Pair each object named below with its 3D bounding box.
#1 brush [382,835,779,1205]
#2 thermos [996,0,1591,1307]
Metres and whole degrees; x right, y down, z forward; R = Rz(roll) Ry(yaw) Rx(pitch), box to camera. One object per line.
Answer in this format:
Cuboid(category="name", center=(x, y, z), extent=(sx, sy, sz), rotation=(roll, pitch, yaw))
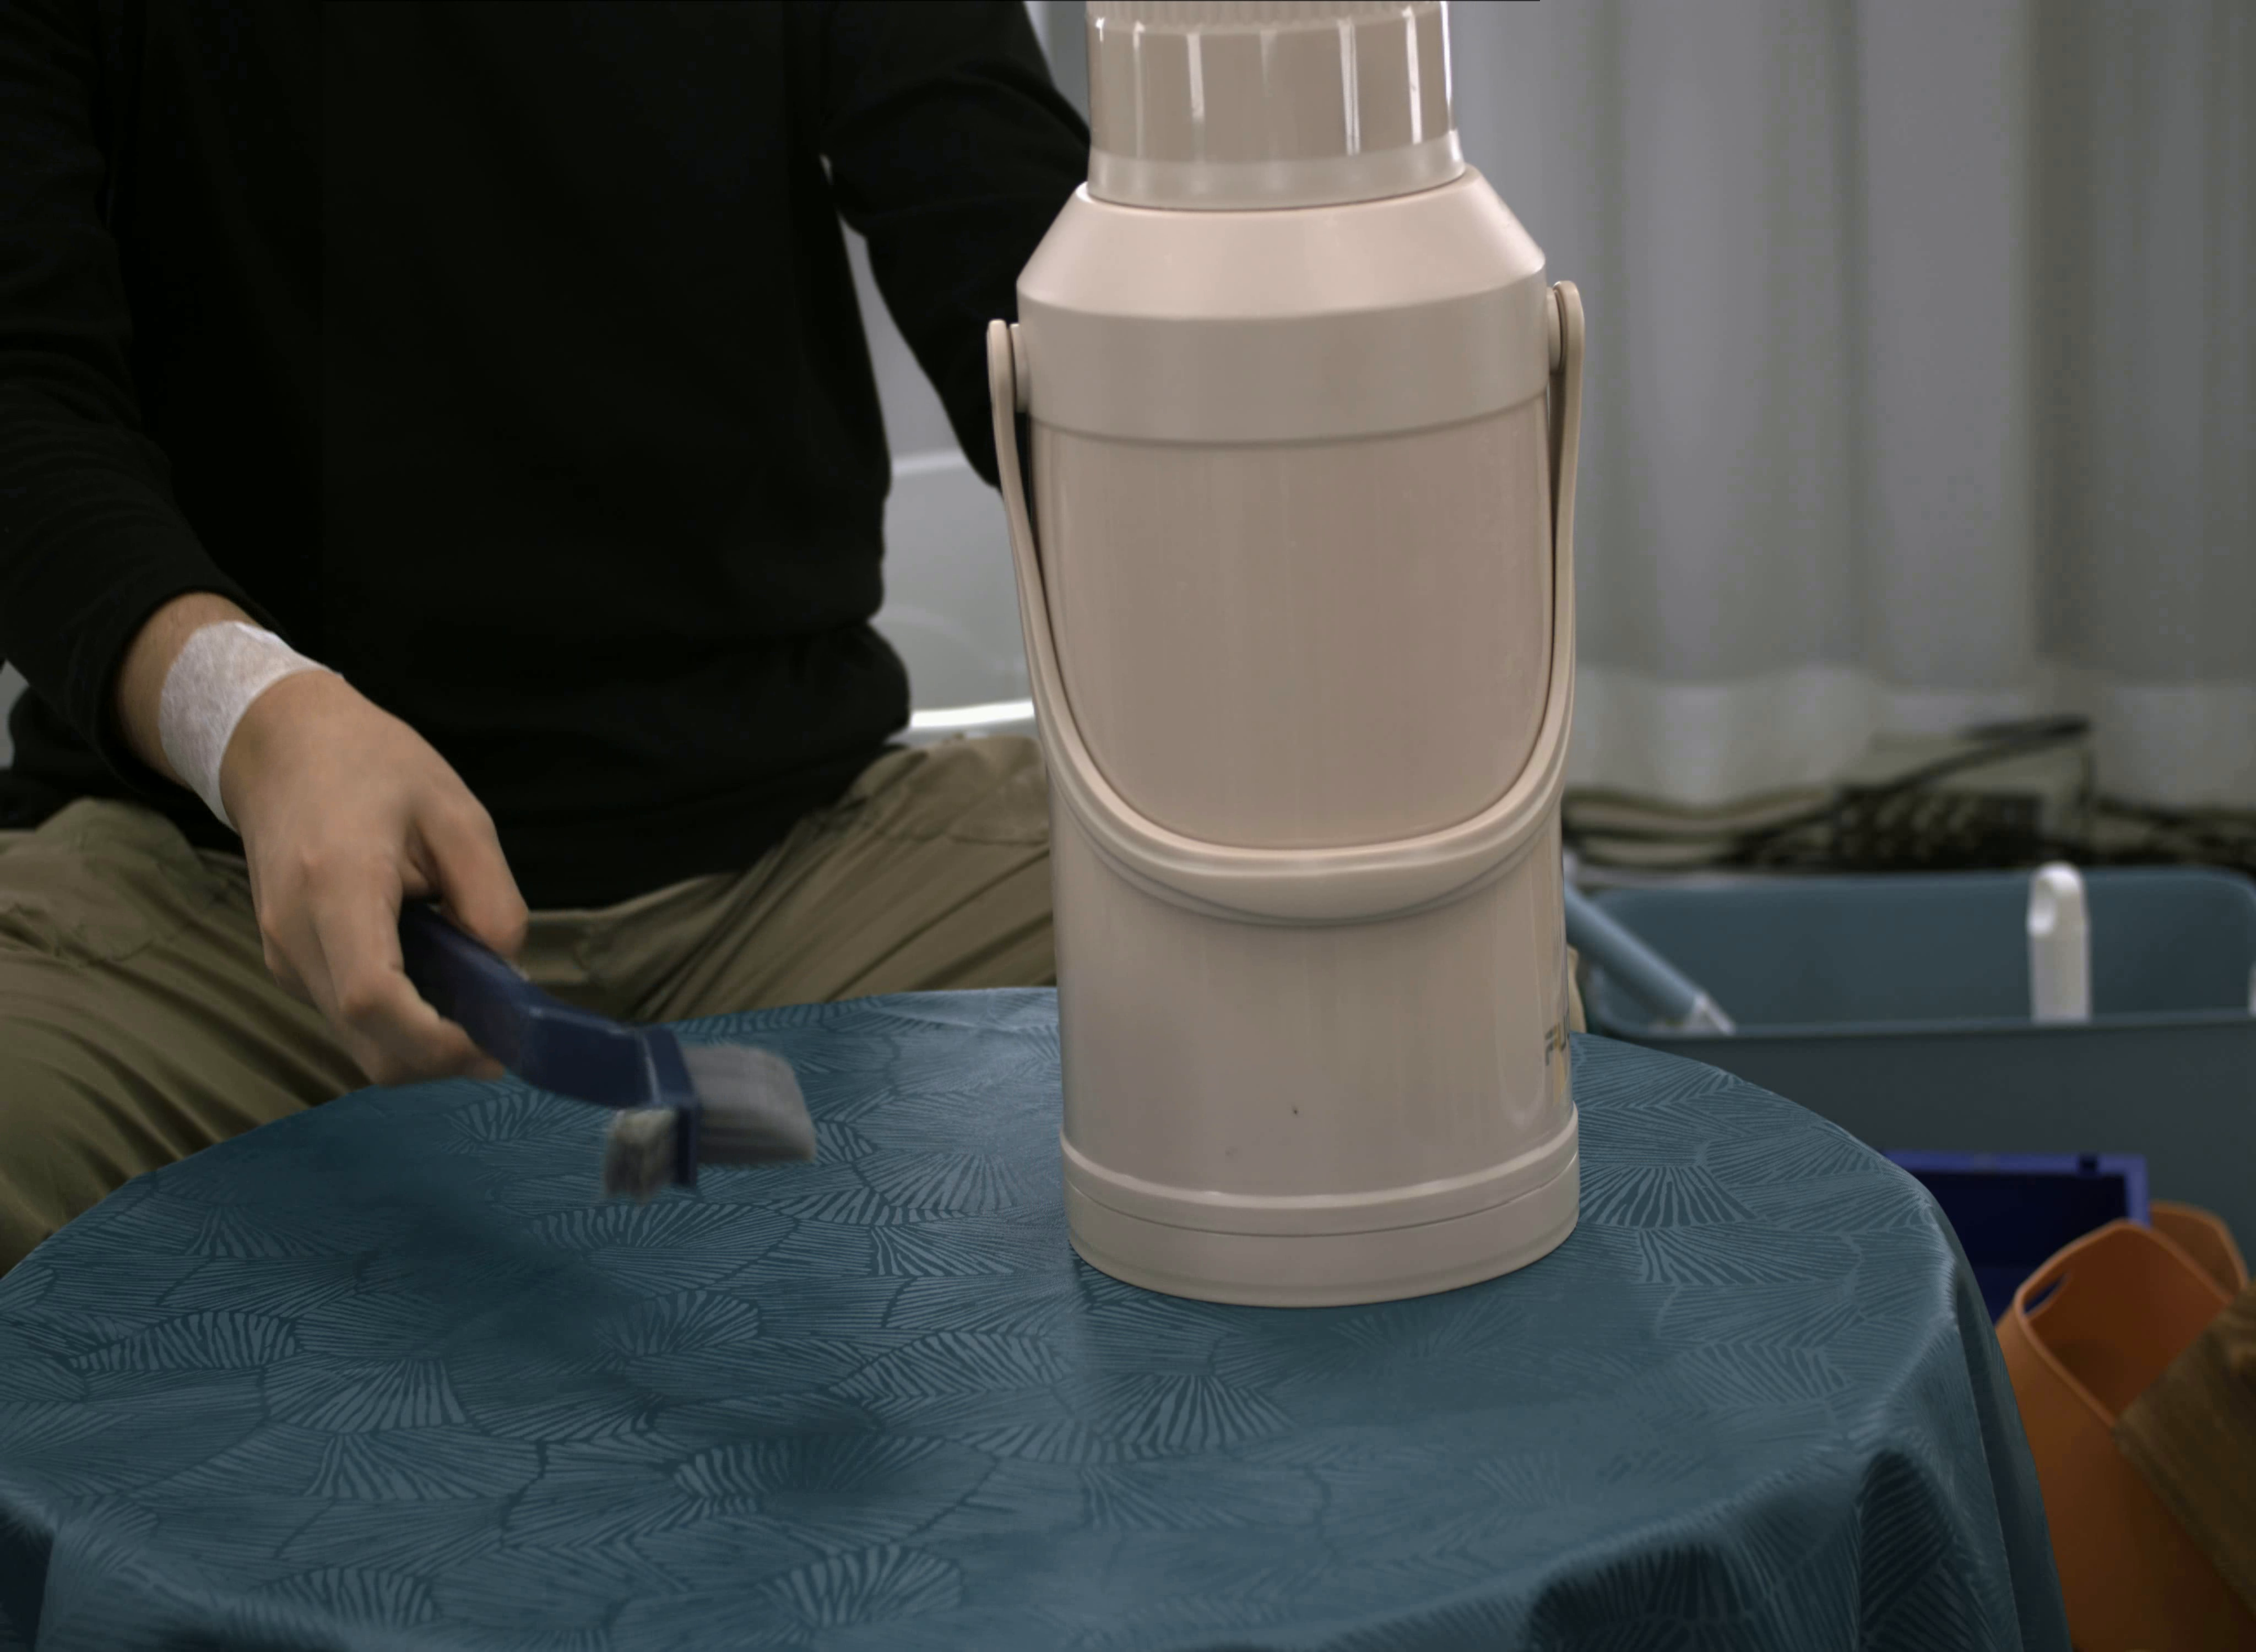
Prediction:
Cuboid(category="brush", center=(-0.183, 0.053, 1.600), extent=(0.095, 0.033, 0.275), rotation=(-7, 17, -33))
Cuboid(category="thermos", center=(0.052, -0.074, 1.647), extent=(0.174, 0.405, 0.208), rotation=(-5, 14, -5))
